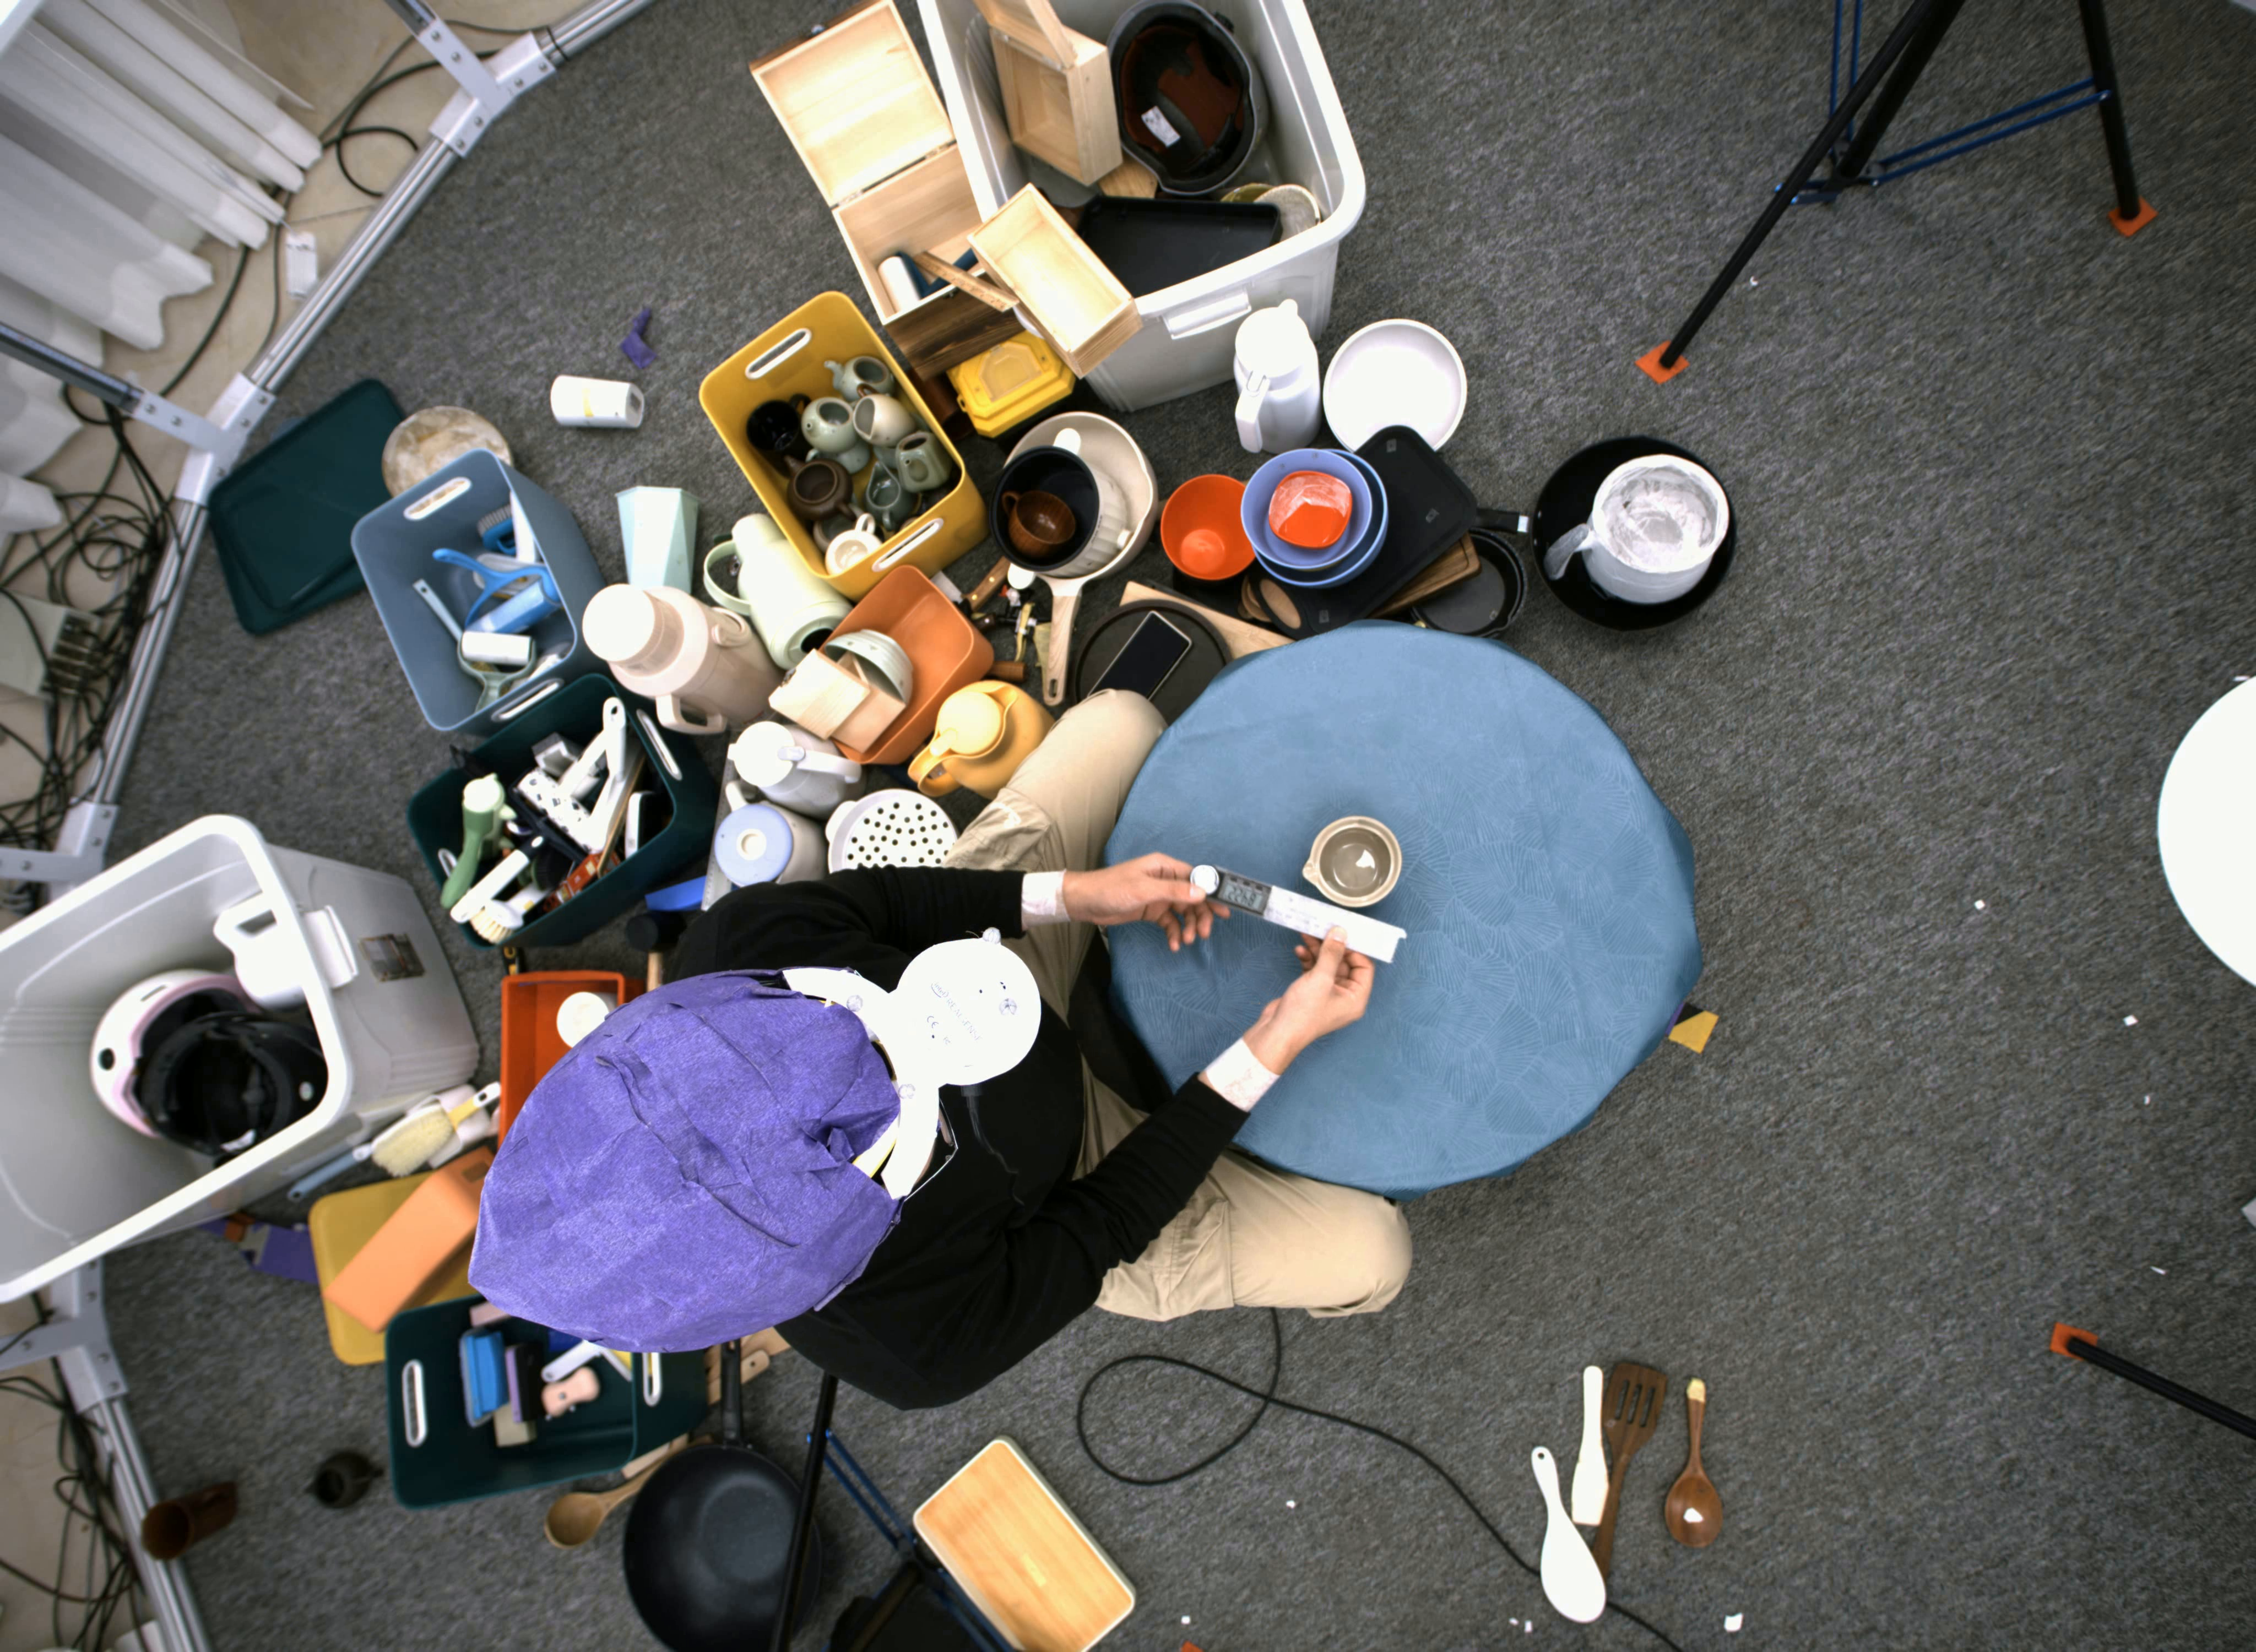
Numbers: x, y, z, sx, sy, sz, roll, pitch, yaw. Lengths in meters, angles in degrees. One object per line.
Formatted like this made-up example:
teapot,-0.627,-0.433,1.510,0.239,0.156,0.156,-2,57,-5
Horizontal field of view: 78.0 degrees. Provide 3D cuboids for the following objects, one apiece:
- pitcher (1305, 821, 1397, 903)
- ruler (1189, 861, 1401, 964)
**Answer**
pitcher,0.230,0.039,1.432,0.096,0.071,0.083,-14,84,8
ruler,0.164,0.083,1.384,0.218,0.024,0.038,20,95,11
